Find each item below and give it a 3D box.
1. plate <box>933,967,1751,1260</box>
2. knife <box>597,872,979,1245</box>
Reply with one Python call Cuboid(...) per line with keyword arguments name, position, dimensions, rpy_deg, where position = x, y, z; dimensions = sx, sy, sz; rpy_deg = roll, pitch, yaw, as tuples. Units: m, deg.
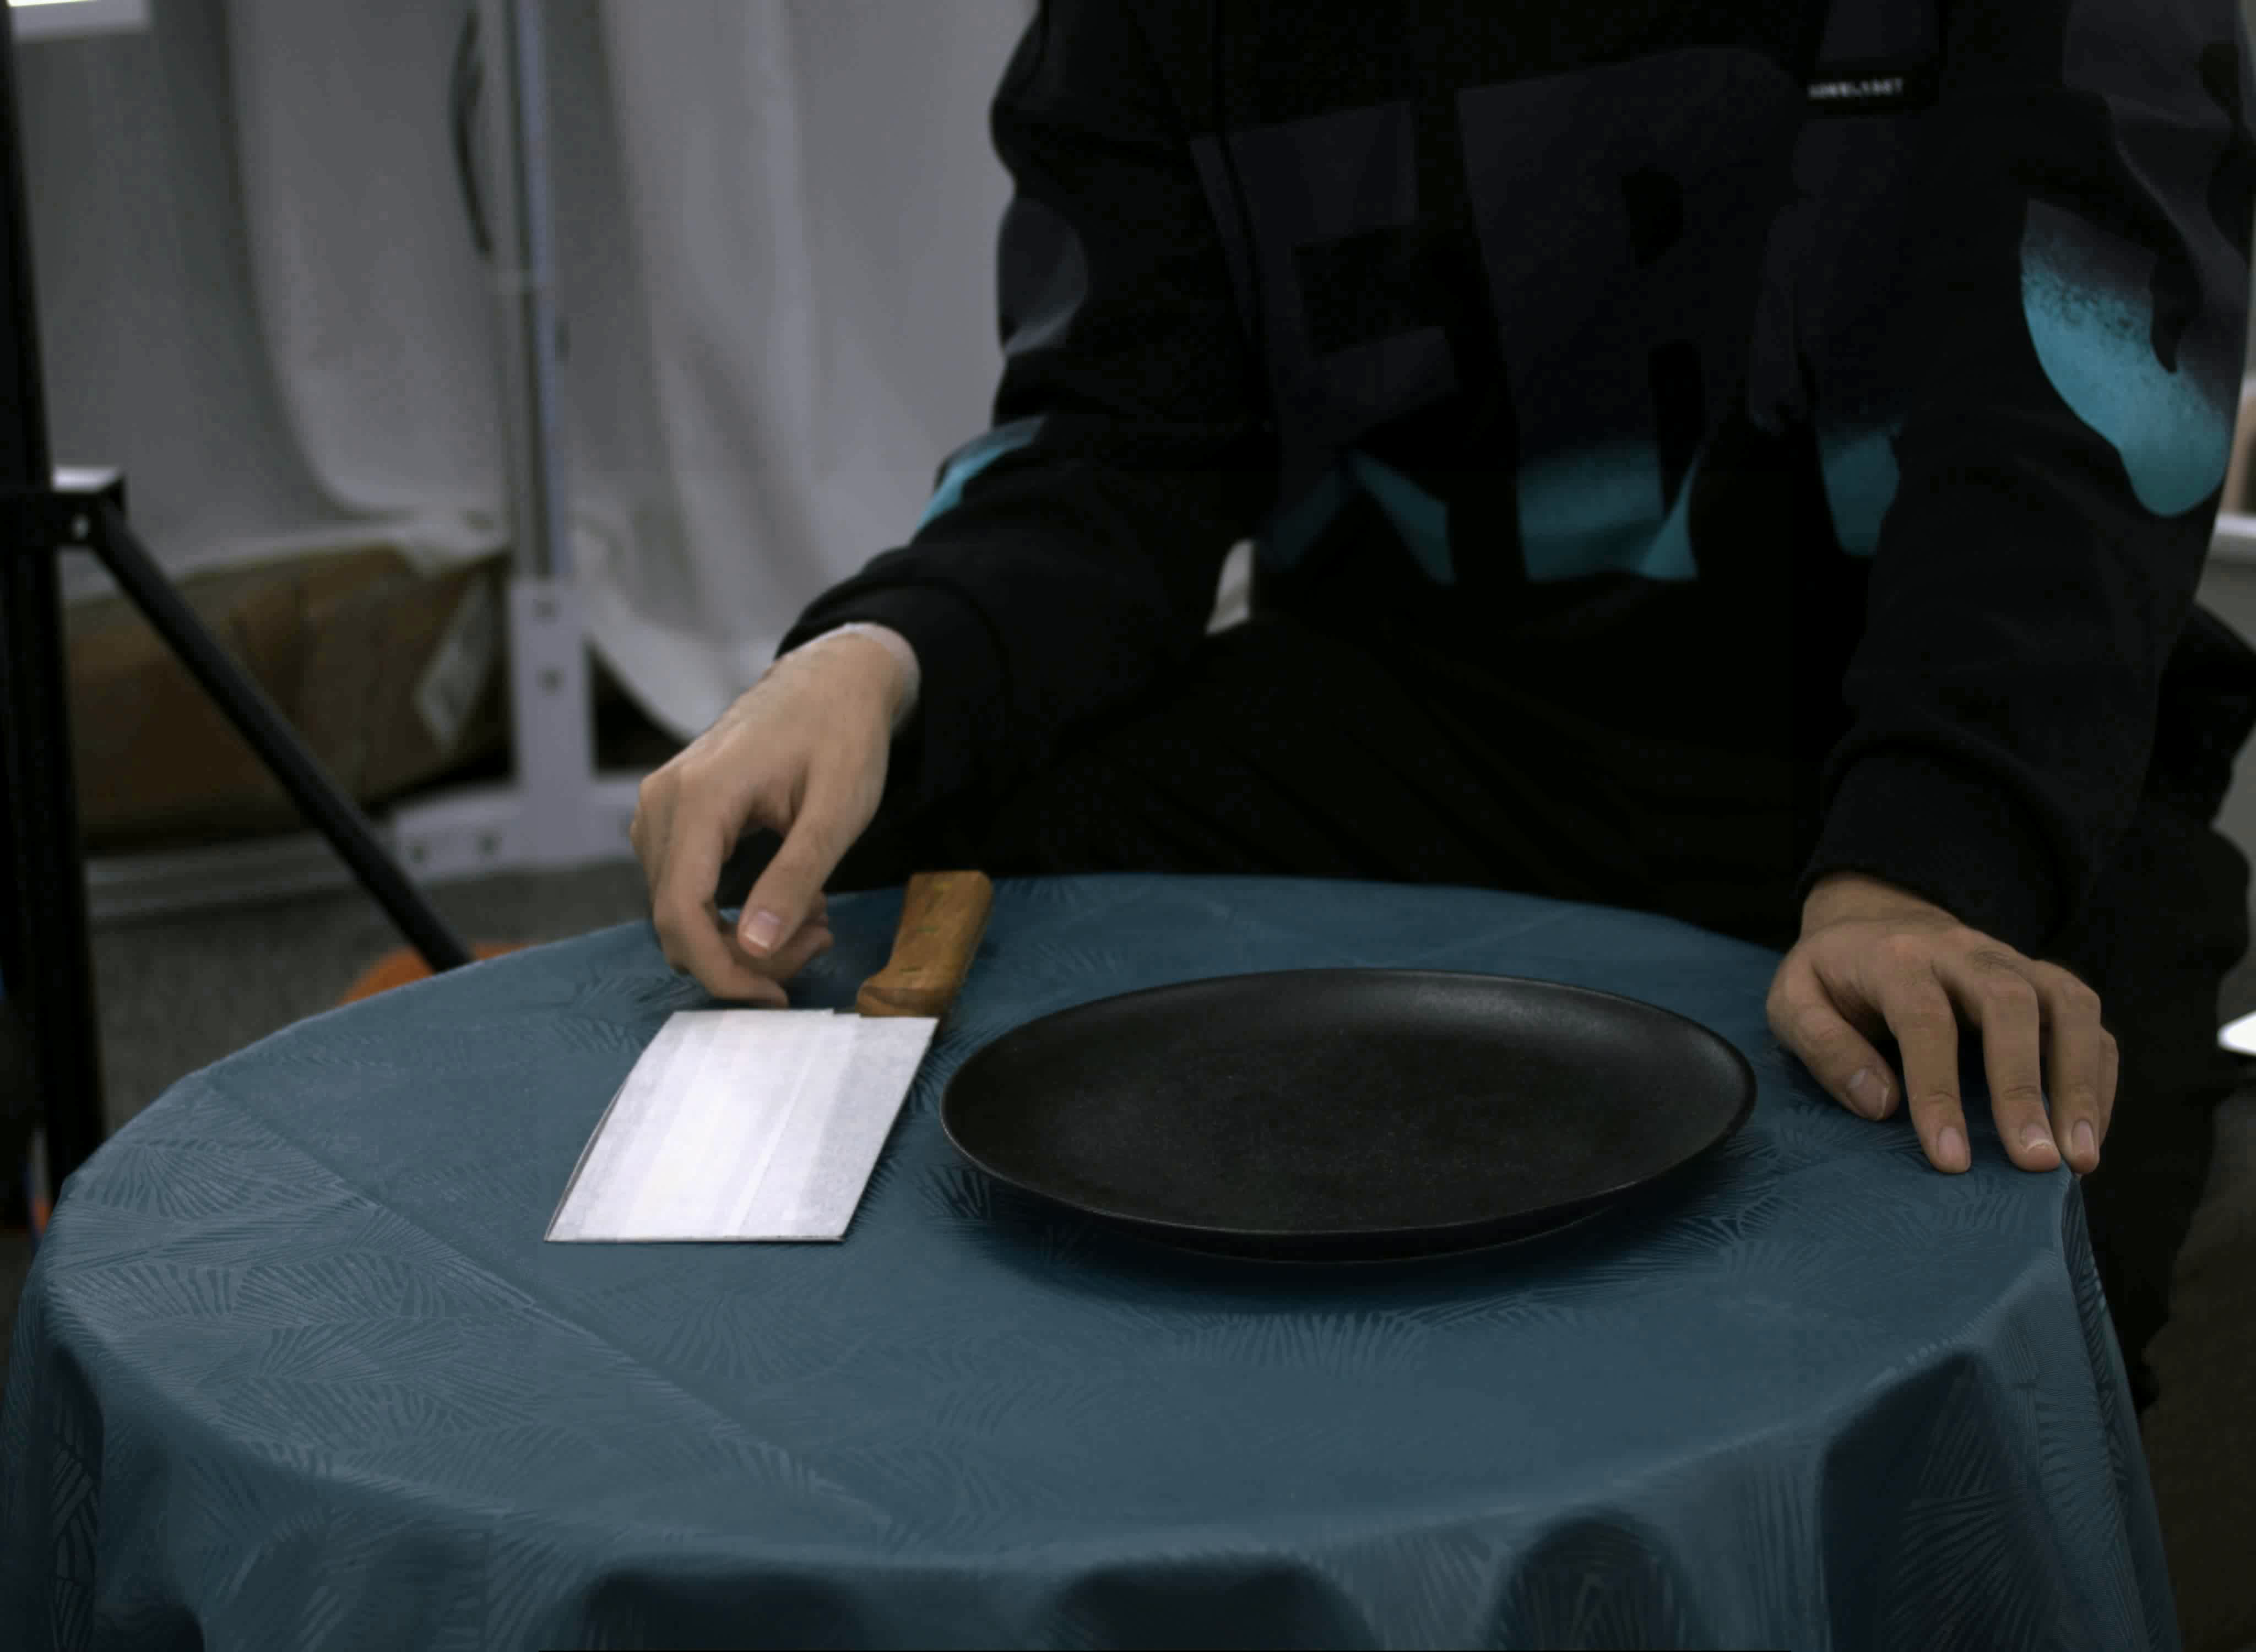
Cuboid(name="plate", position=(0.063, 0.088, 1.574), dimensions=(0.243, 0.023, 0.245), rpy_deg=(-3, 16, -1))
Cuboid(name="knife", position=(-0.106, 0.072, 1.677), dimensions=(0.093, 0.021, 0.305), rpy_deg=(-2, 18, 8))
